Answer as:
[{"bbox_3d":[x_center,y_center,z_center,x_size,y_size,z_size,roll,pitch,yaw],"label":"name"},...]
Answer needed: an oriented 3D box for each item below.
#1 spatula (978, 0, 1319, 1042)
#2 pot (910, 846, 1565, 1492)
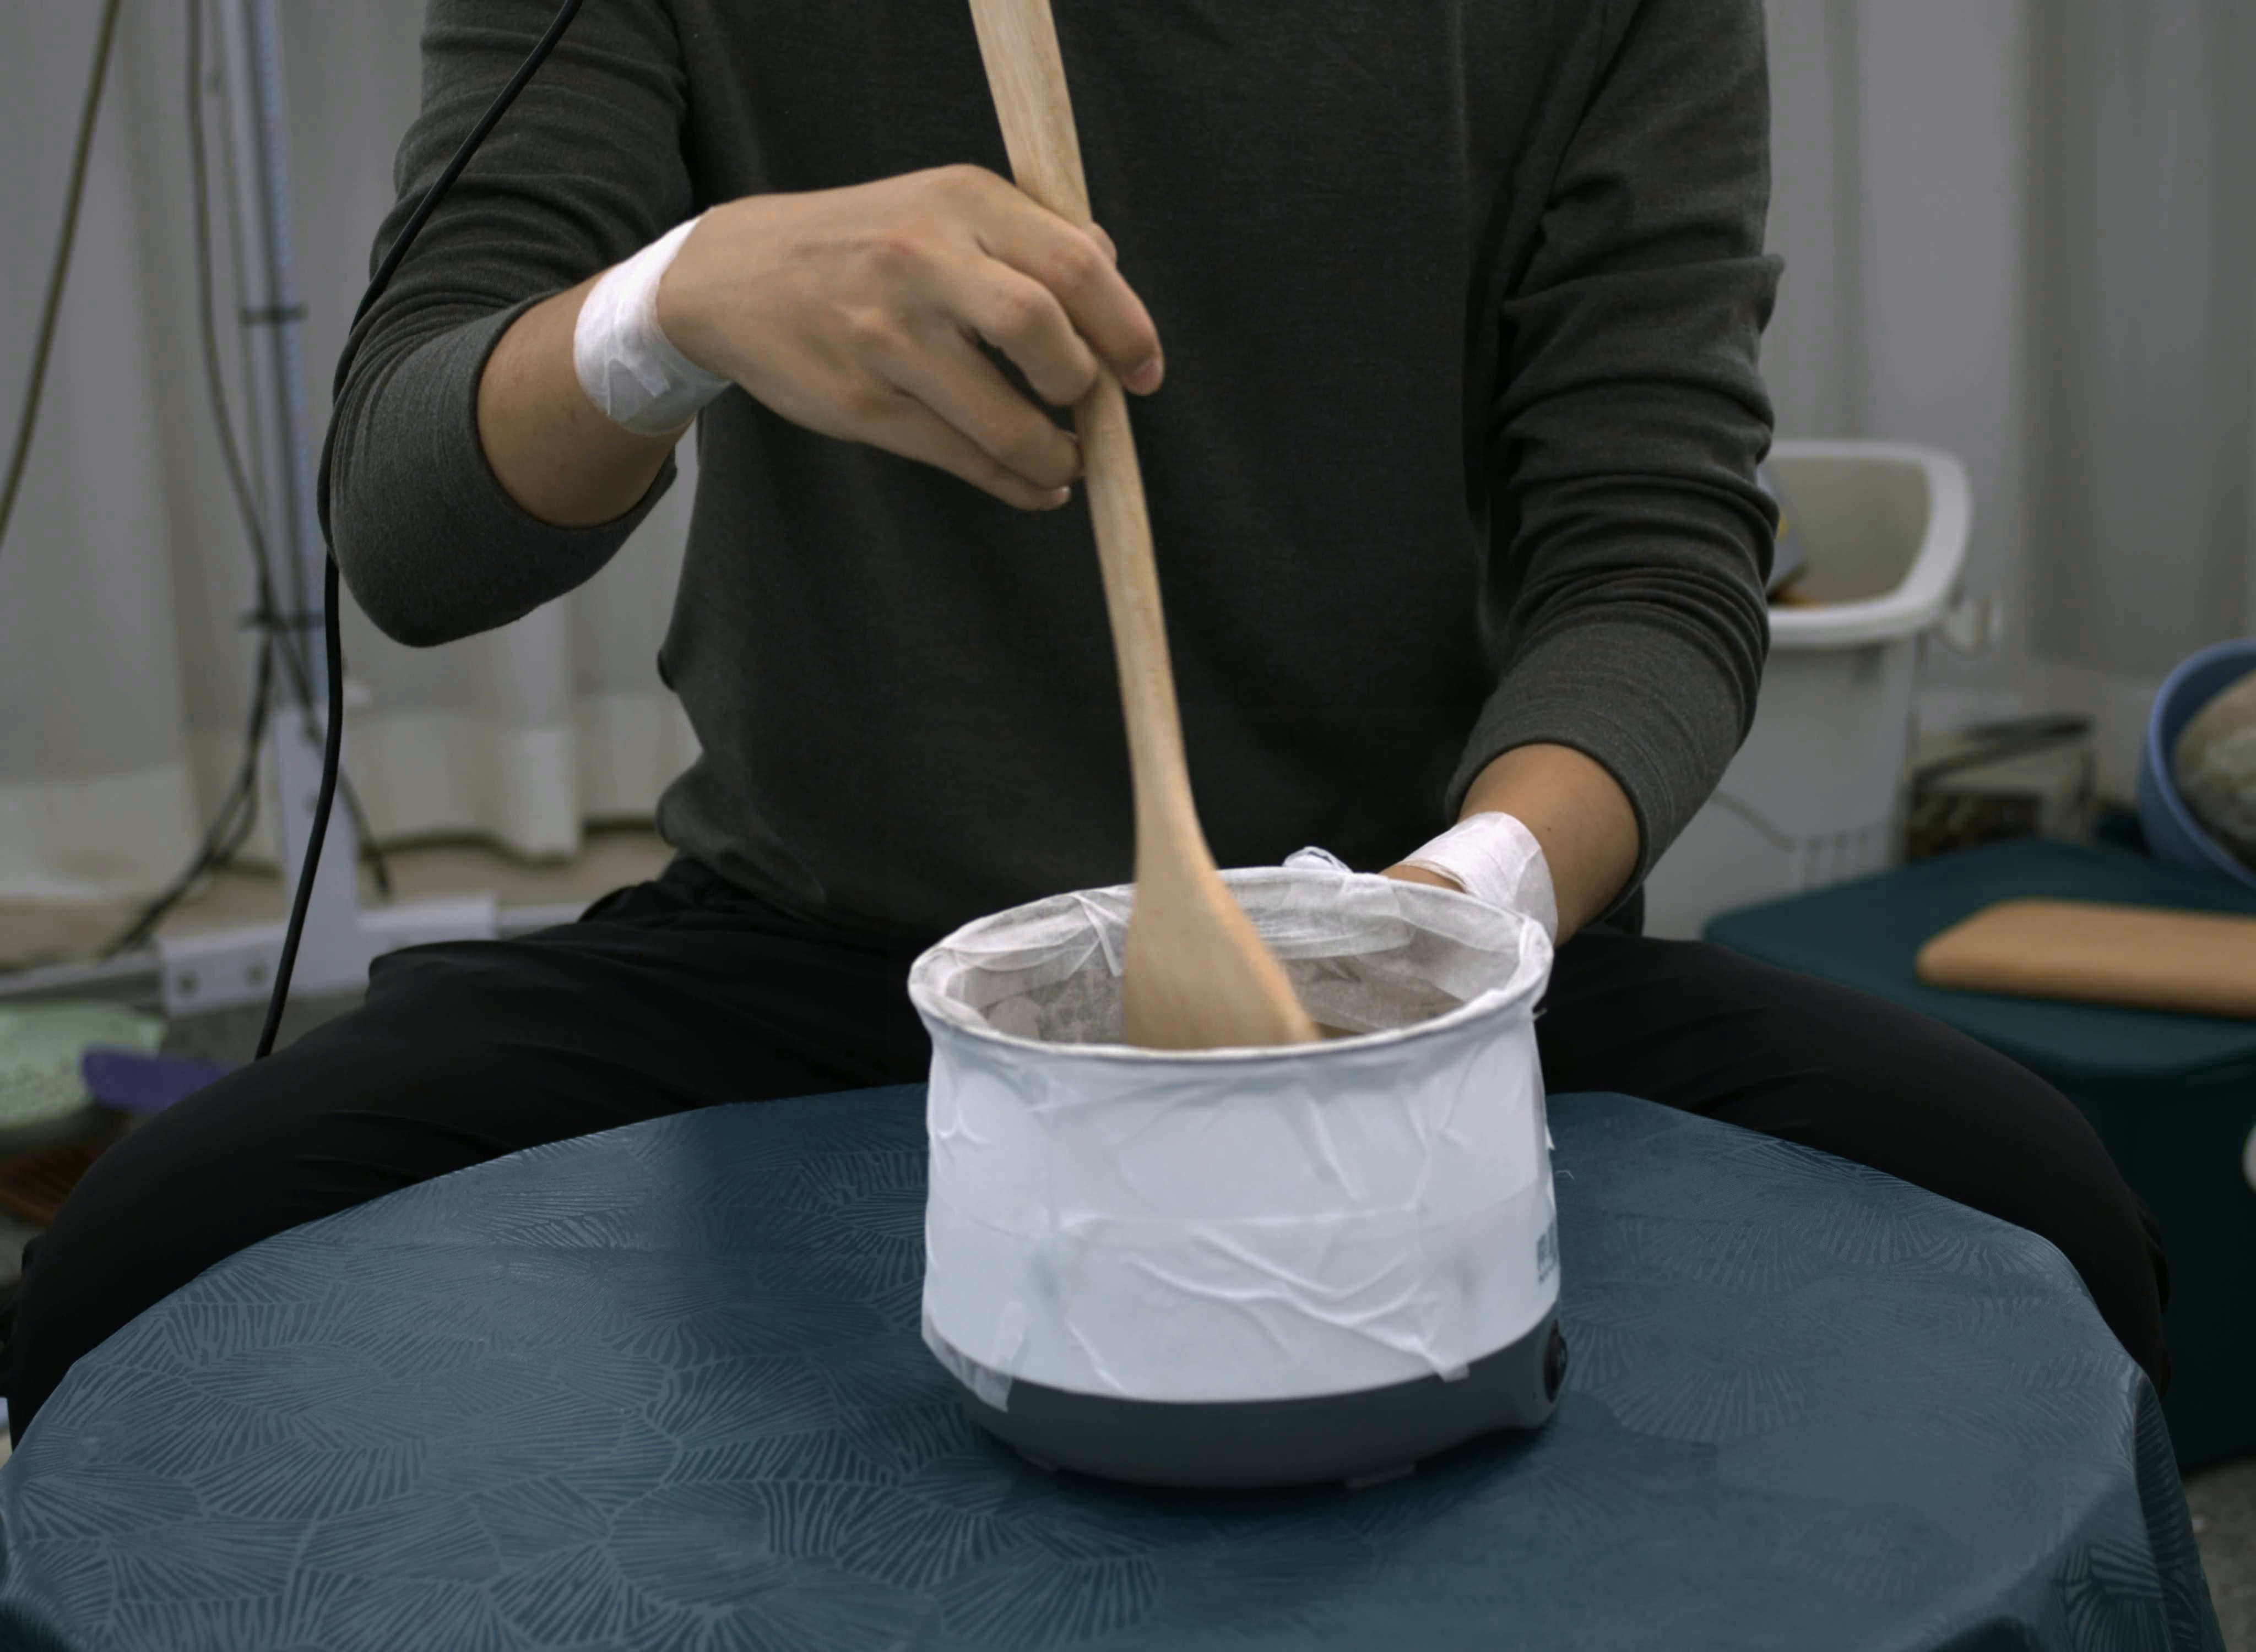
[{"bbox_3d":[0.000,-0.079,1.496,0.018,0.392,0.096,-10,0,-31],"label":"spatula"},{"bbox_3d":[0.038,0.090,1.538,0.178,0.136,0.235,1,15,14],"label":"pot"}]
